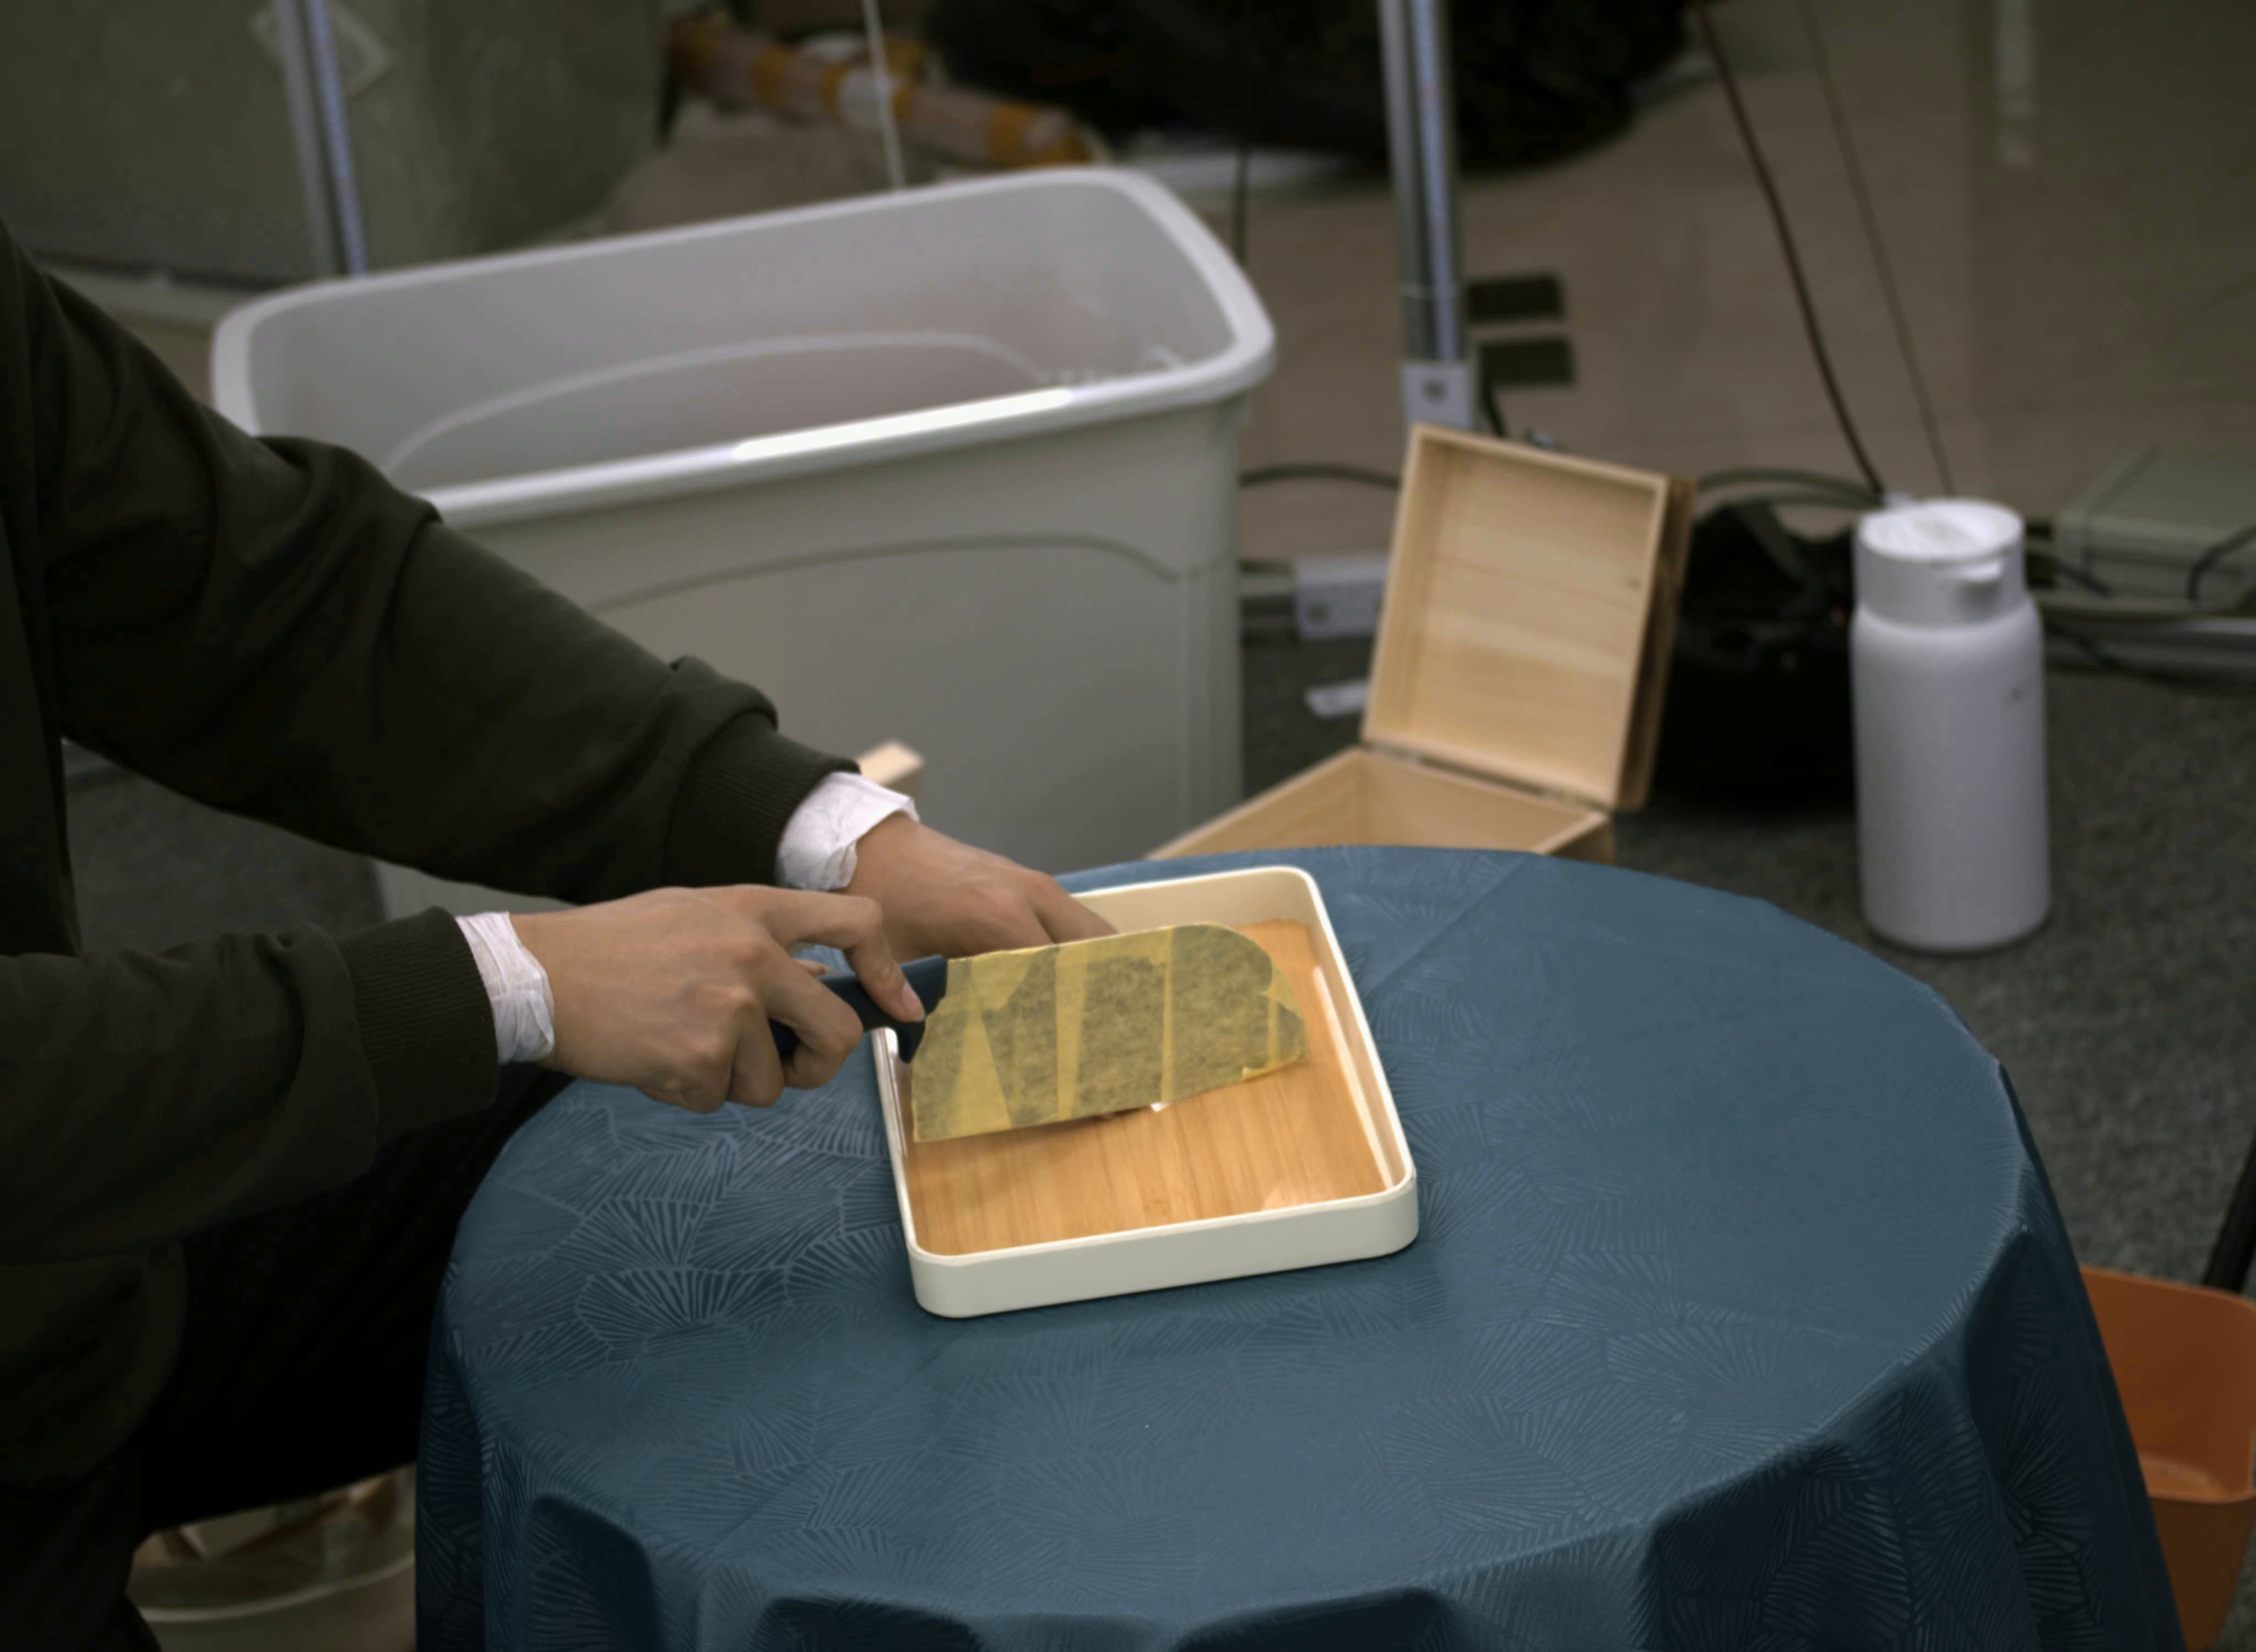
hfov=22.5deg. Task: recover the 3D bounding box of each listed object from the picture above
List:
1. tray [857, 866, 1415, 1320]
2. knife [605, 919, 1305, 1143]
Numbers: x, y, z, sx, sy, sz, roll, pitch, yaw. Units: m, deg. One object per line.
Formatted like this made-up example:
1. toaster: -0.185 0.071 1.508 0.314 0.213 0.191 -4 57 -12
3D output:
1. tray: -0.002 0.099 2.207 0.191 0.028 0.296 -9 24 -3
2. knife: -0.061 0.080 2.151 0.289 0.082 0.027 -4 17 -24
